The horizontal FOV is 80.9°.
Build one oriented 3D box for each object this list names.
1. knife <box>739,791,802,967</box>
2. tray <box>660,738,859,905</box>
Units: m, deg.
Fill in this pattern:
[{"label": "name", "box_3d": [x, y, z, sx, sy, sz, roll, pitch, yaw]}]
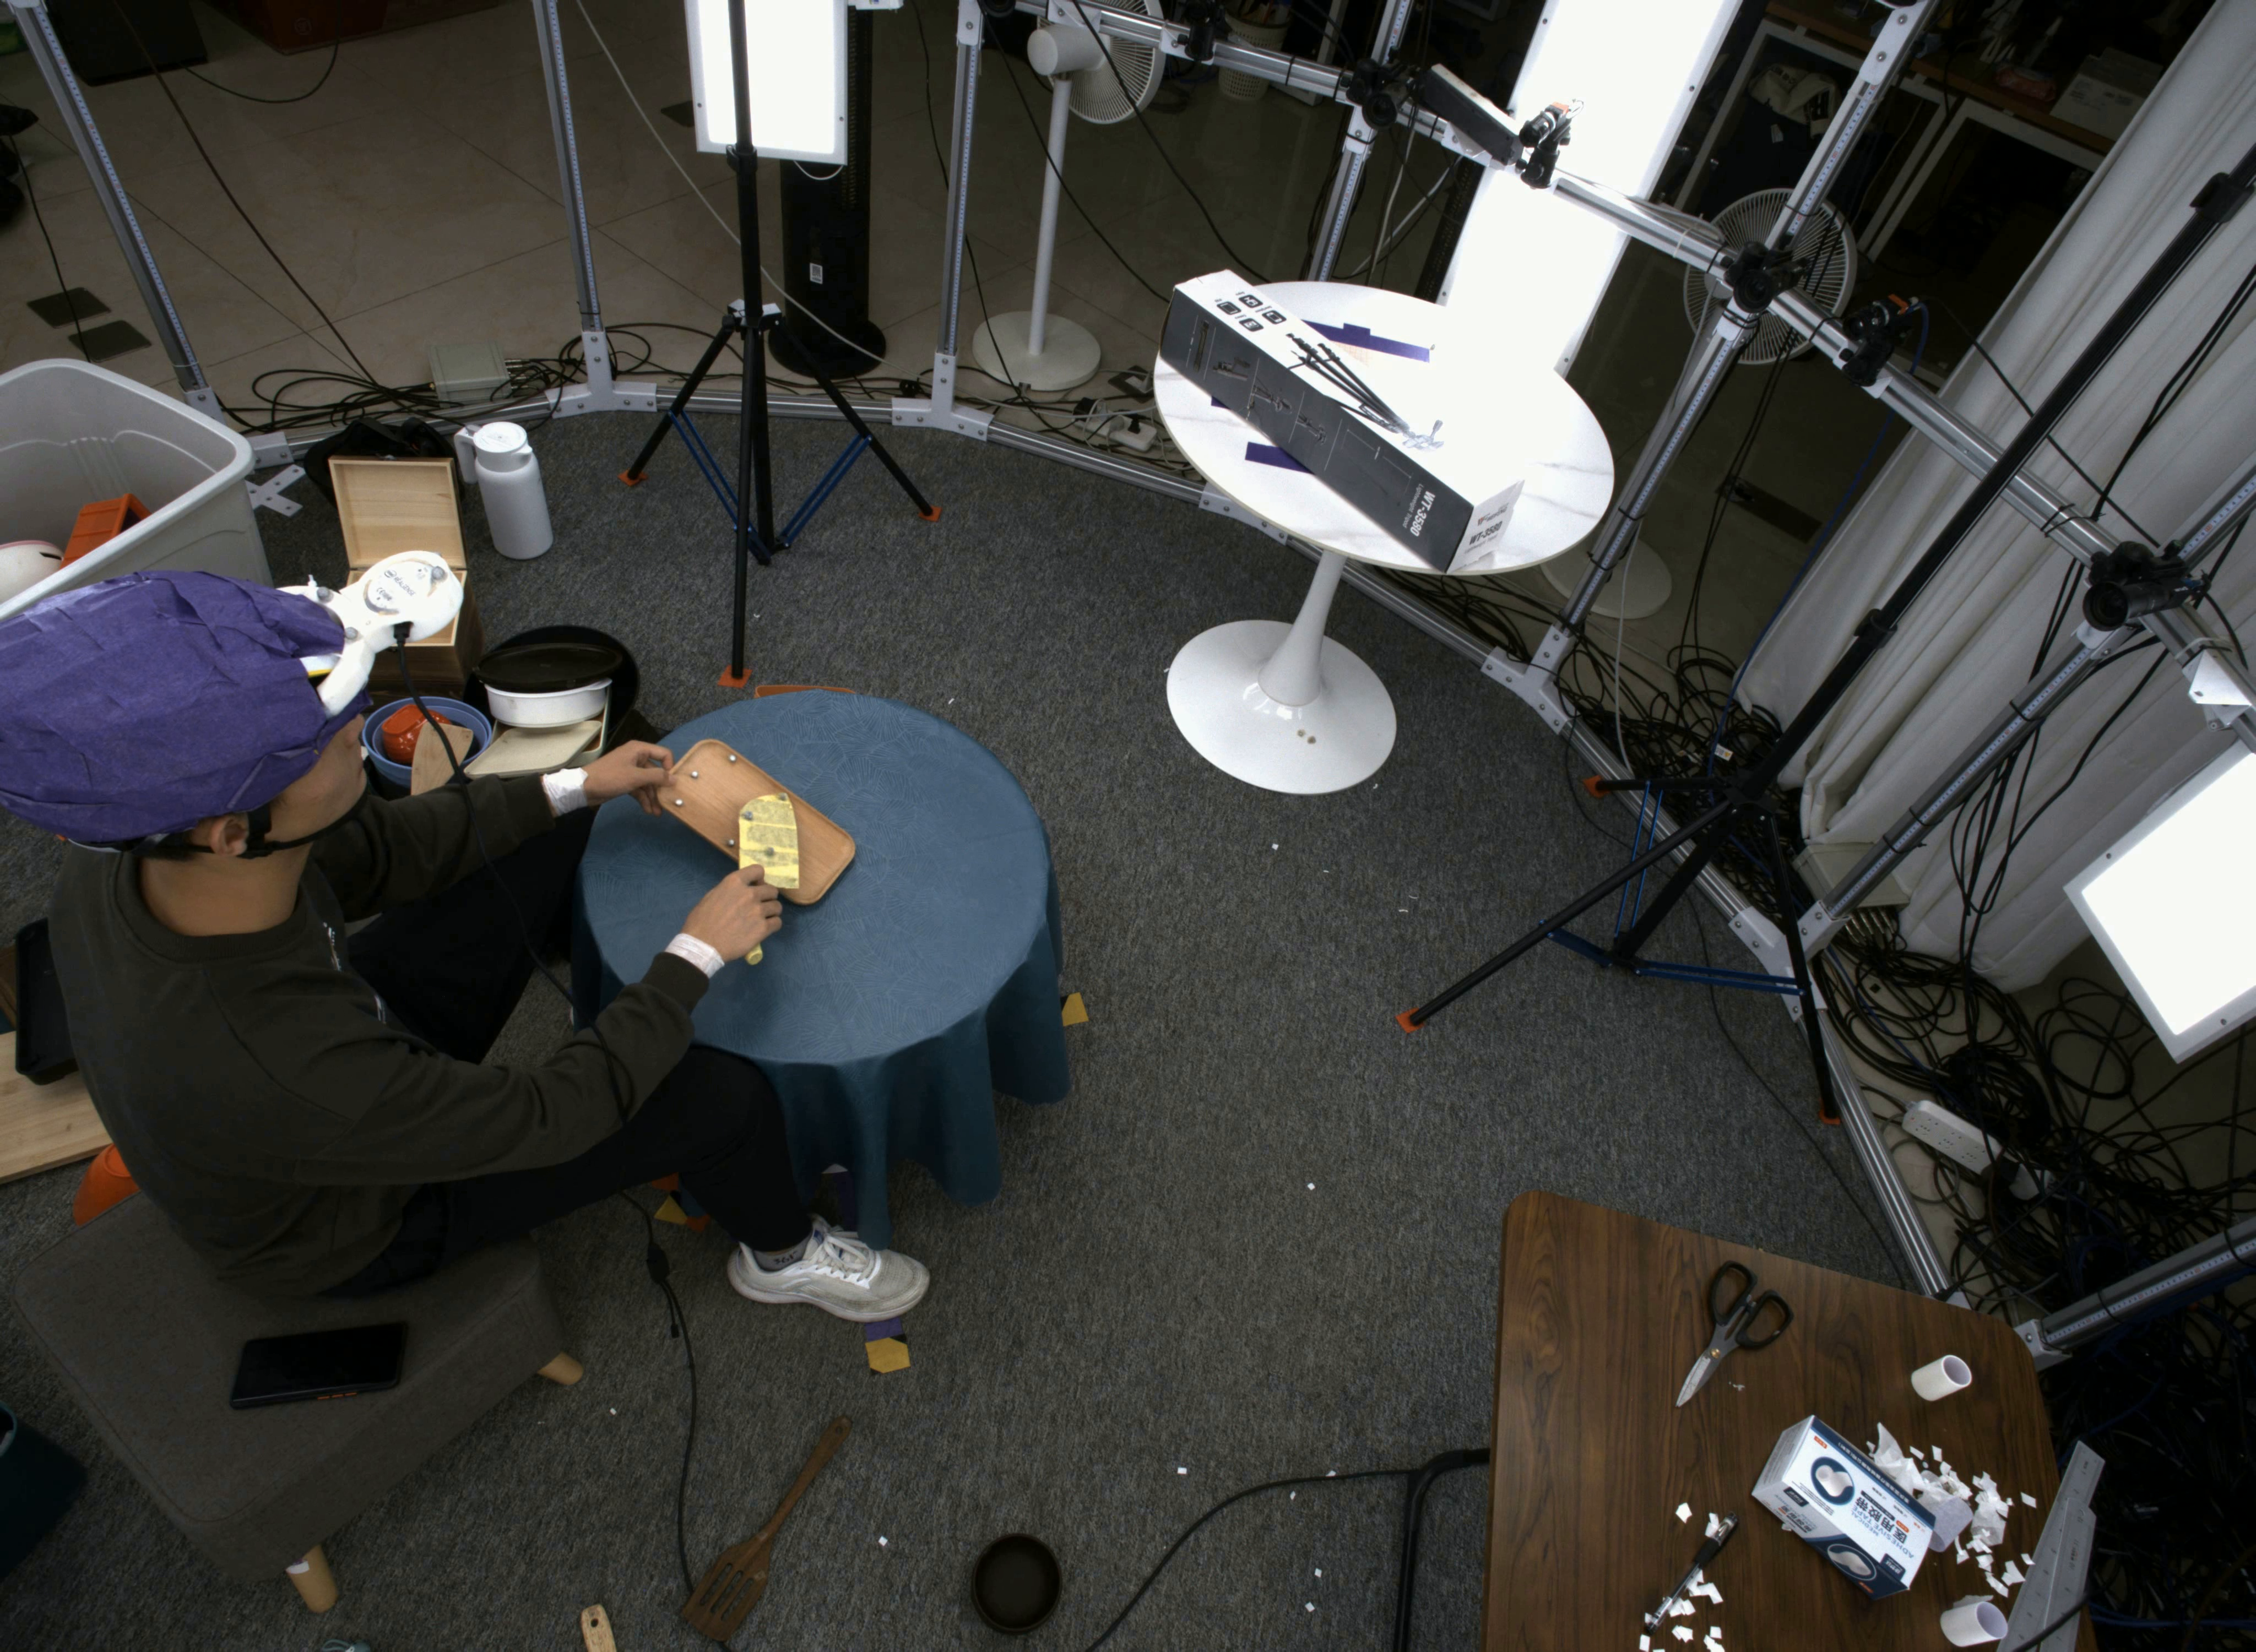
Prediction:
[{"label": "knife", "box_3d": [-0.443, 0.056, 1.596, 0.082, 0.027, 0.282, 9, 45, -21]}, {"label": "tray", "box_3d": [-0.476, -0.007, 1.672, 0.253, 0.023, 0.130, 37, 55, -9]}]
